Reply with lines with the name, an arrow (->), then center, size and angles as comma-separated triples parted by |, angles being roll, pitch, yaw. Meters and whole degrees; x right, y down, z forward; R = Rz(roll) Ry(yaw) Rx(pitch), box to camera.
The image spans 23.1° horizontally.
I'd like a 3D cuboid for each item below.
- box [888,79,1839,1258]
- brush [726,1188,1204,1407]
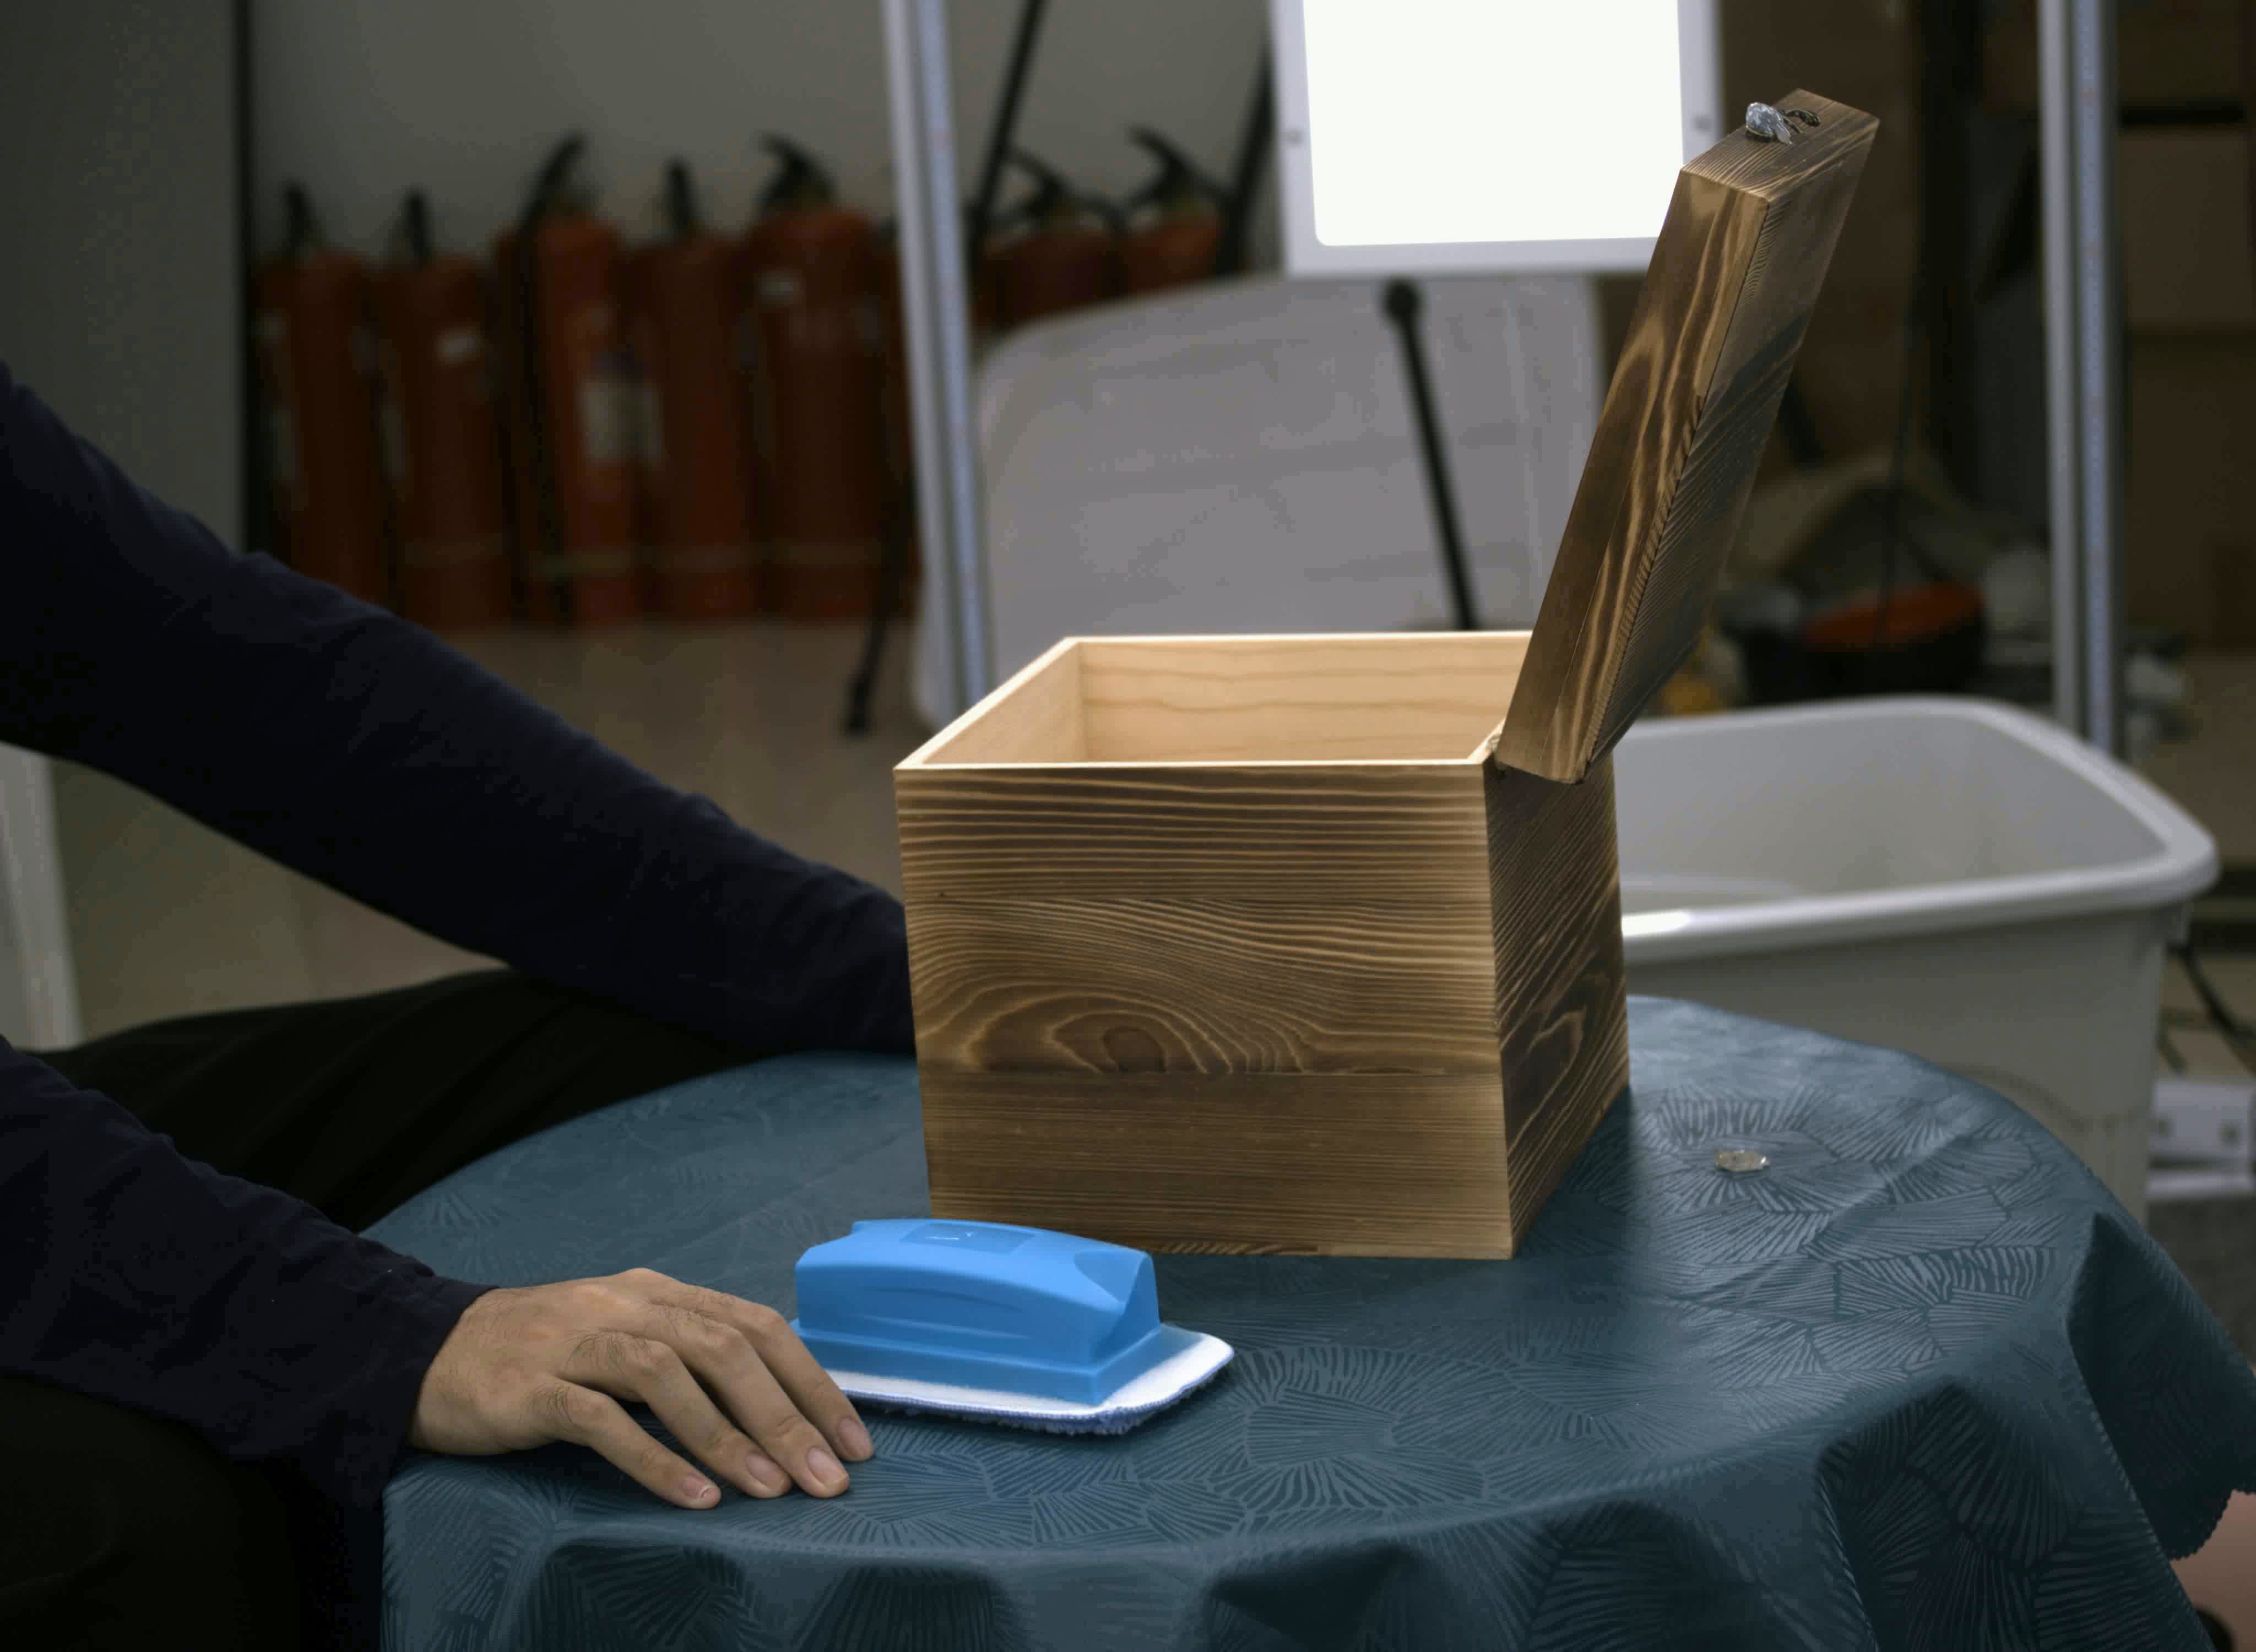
box -> 0.093, -0.058, 1.856 | 0.326, 0.377, 0.205 | 0, 14, 18
brush -> -0.051, 0.145, 1.712 | 0.147, 0.056, 0.082 | 7, 15, 35
